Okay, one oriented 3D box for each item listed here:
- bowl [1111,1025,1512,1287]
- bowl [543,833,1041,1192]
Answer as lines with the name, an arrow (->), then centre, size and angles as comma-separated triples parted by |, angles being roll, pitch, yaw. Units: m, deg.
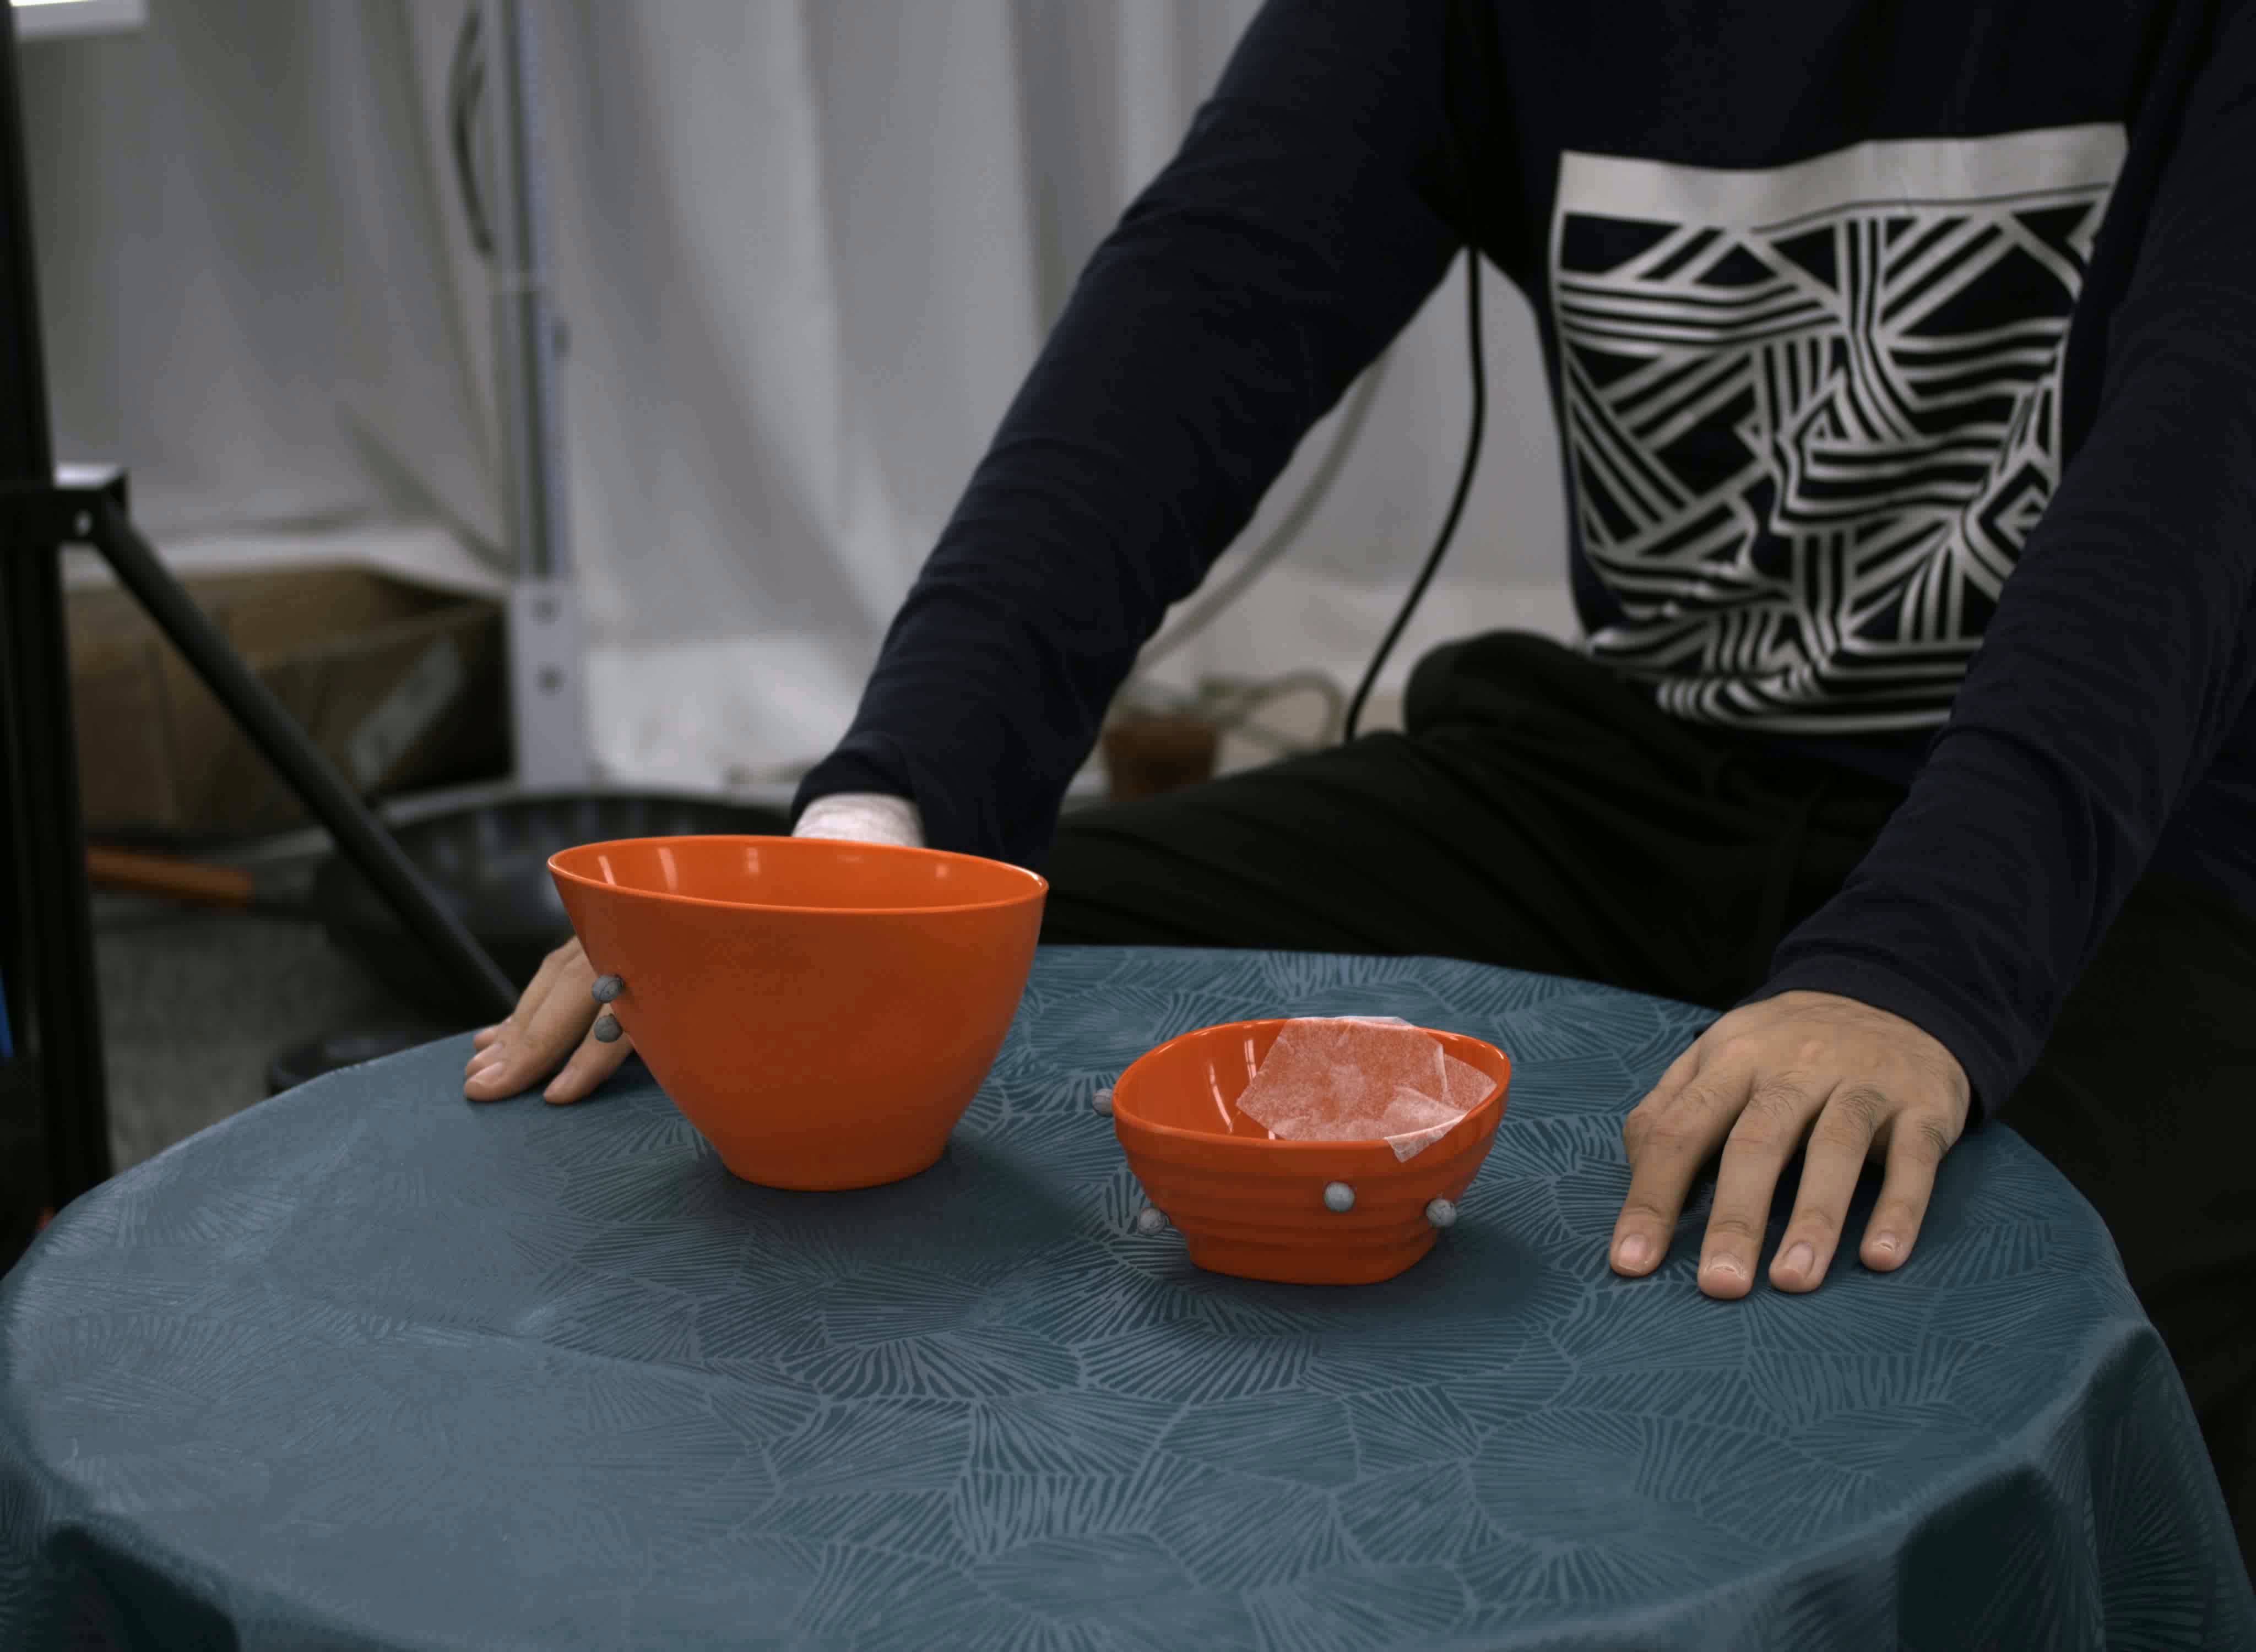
bowl -> 0.054, 0.096, 1.507 | 0.118, 0.051, 0.119 | -3, 14, -1
bowl -> -0.097, 0.053, 1.588 | 0.147, 0.104, 0.149 | -3, 15, -1
